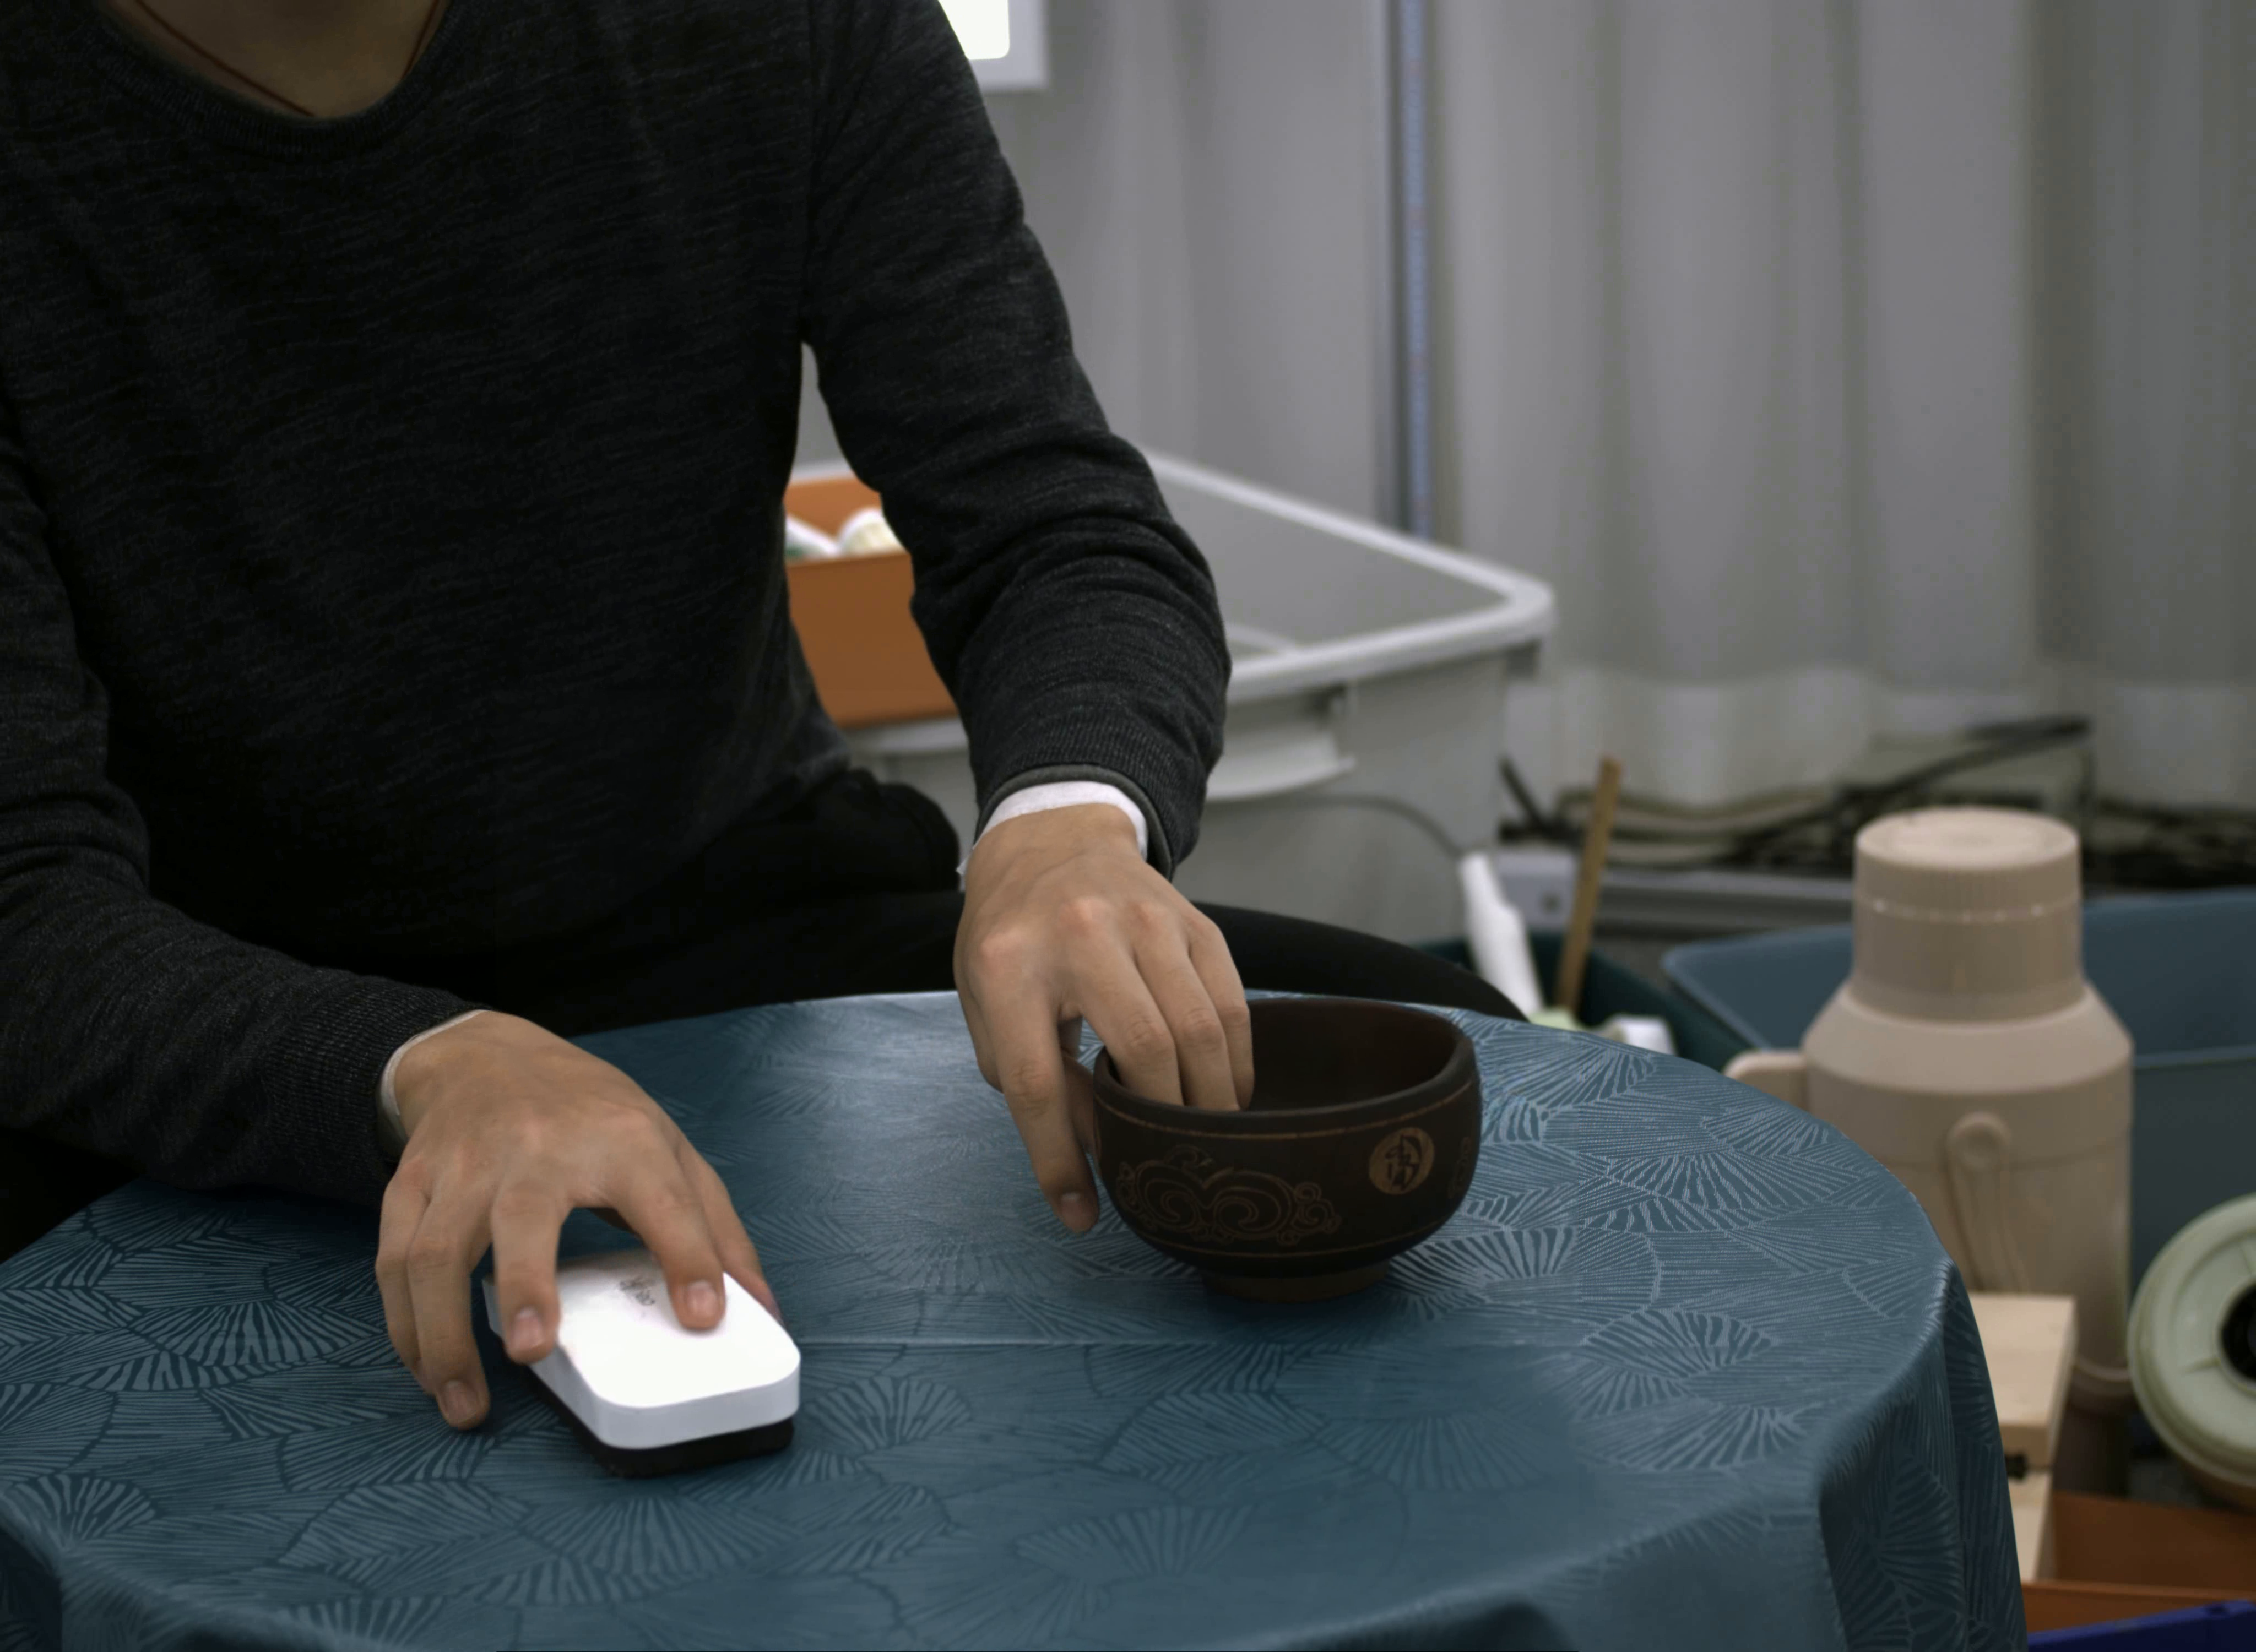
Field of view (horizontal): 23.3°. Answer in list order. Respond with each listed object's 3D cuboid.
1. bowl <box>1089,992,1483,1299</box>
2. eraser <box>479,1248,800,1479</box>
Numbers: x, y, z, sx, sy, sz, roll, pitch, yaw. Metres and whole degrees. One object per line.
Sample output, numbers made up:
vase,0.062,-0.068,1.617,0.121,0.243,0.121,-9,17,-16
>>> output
bowl,0.048,0.099,1.626,0.117,0.069,0.119,-4,14,1
eraser,-0.139,0.148,1.556,0.063,0.034,0.132,-8,16,-22
